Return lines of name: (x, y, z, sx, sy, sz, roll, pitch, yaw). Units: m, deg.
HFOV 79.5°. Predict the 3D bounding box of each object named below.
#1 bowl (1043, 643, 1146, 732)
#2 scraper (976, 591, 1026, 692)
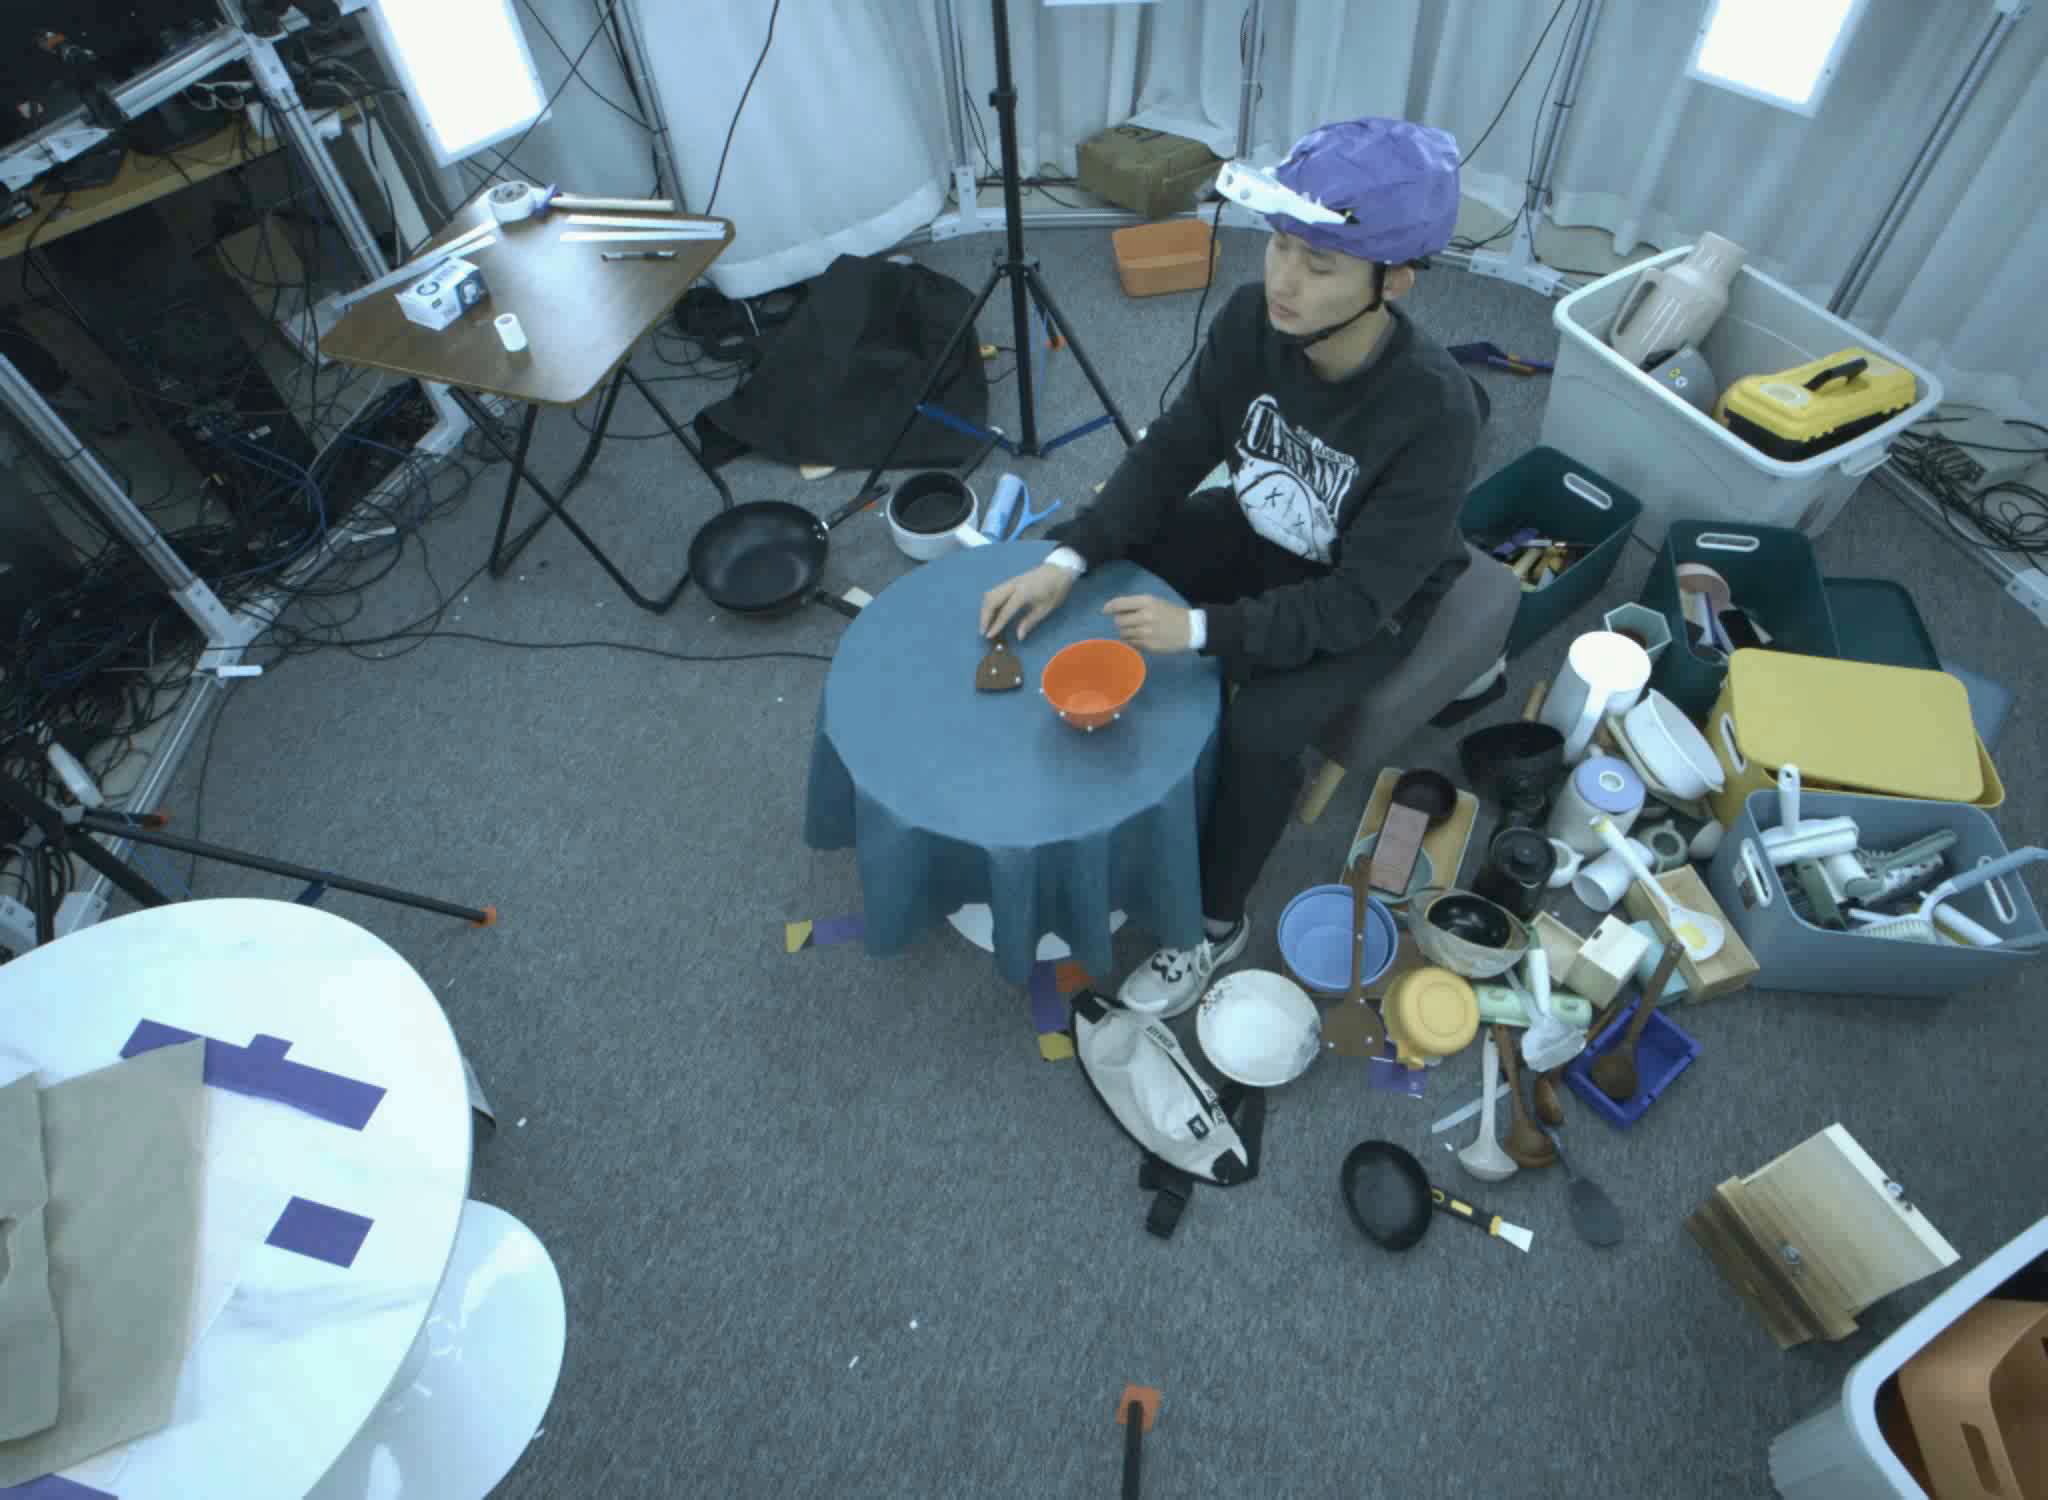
bowl: (0.102, -0.076, 1.787, 0.148, 0.106, 0.146, -1, 55, 2)
scraper: (-0.037, -0.170, 1.914, 0.076, 0.011, 0.209, -1, 54, -1)
